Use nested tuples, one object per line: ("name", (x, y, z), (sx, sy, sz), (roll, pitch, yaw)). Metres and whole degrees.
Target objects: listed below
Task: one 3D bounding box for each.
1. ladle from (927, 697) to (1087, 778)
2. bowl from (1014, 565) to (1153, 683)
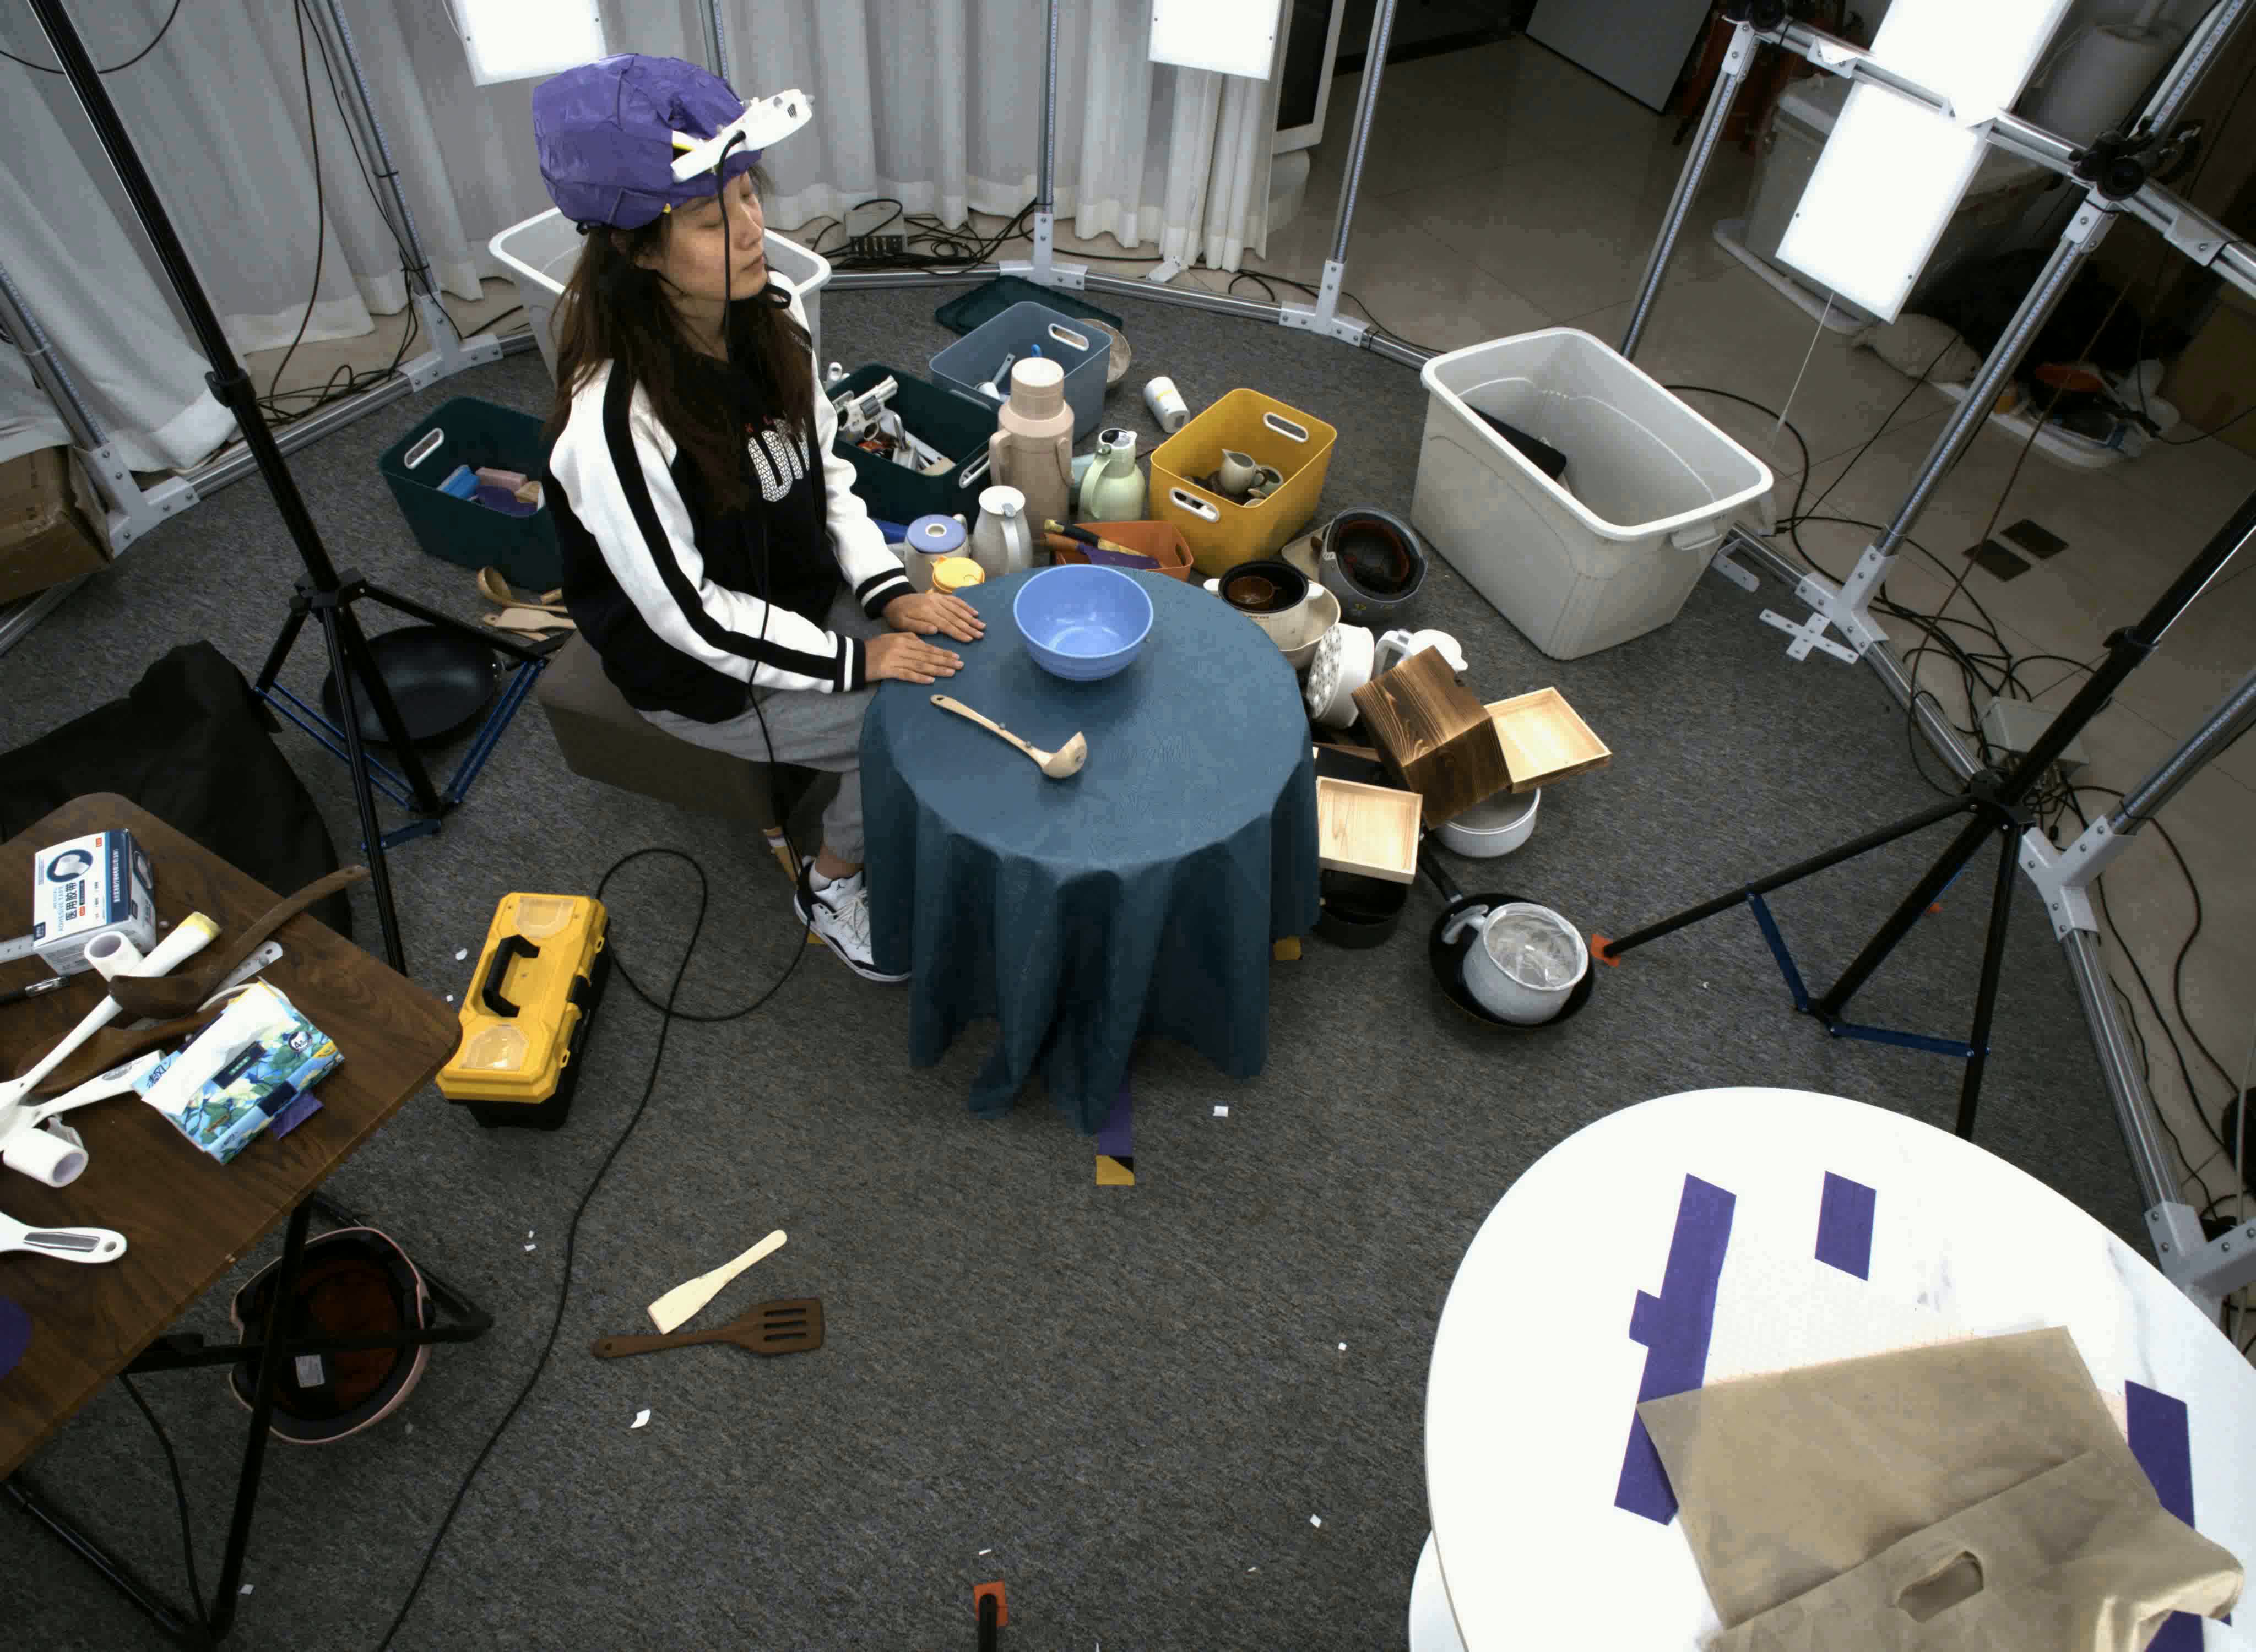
("ladle", (-0.170, -0.143, 1.735), (0.257, 0.071, 0.073), (28, 52, 19))
("bowl", (-0.065, -0.274, 1.846), (0.196, 0.093, 0.201), (1, 50, -2))
